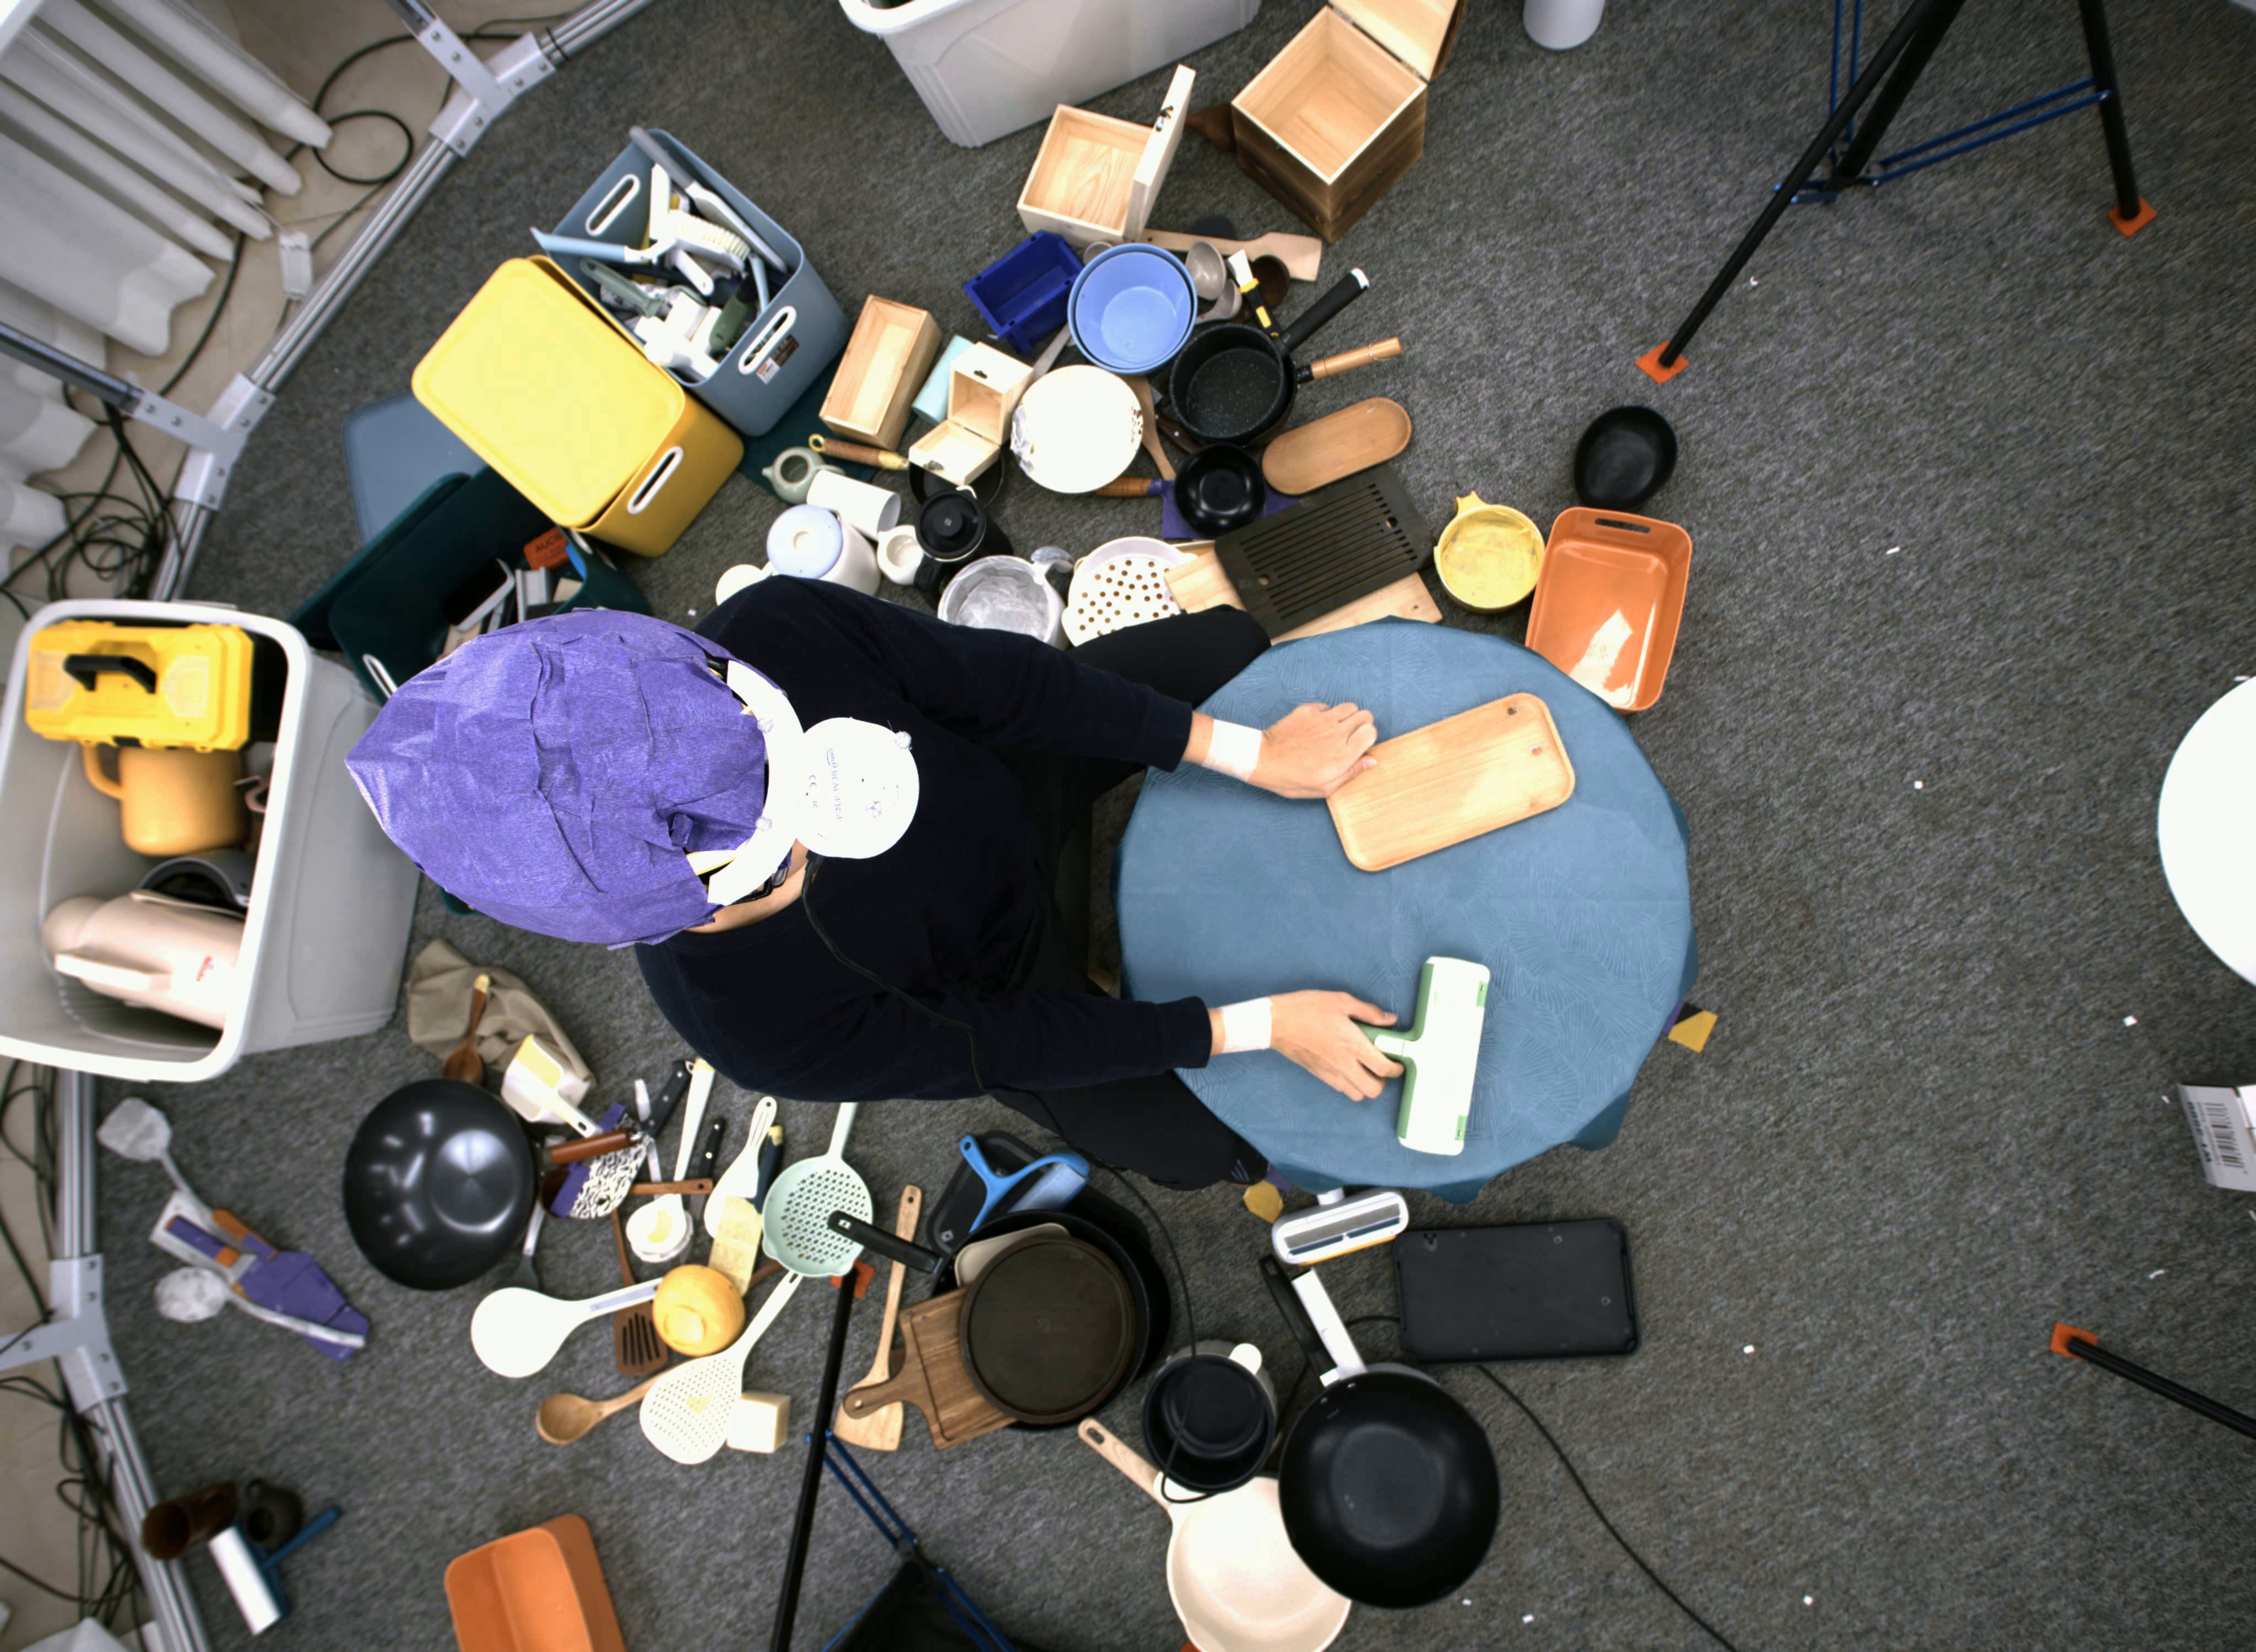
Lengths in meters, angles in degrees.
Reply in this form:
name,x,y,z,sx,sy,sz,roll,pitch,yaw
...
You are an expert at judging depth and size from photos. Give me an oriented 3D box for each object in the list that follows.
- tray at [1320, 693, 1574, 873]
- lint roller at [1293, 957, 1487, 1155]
name,x,y,z,sx,sy,sz,roll,pitch,yaw
tray,0.334,-0.046,1.446,0.252,0.023,0.129,-20,81,10
lint roller,0.261,0.222,1.409,0.183,0.082,0.198,9,87,5
